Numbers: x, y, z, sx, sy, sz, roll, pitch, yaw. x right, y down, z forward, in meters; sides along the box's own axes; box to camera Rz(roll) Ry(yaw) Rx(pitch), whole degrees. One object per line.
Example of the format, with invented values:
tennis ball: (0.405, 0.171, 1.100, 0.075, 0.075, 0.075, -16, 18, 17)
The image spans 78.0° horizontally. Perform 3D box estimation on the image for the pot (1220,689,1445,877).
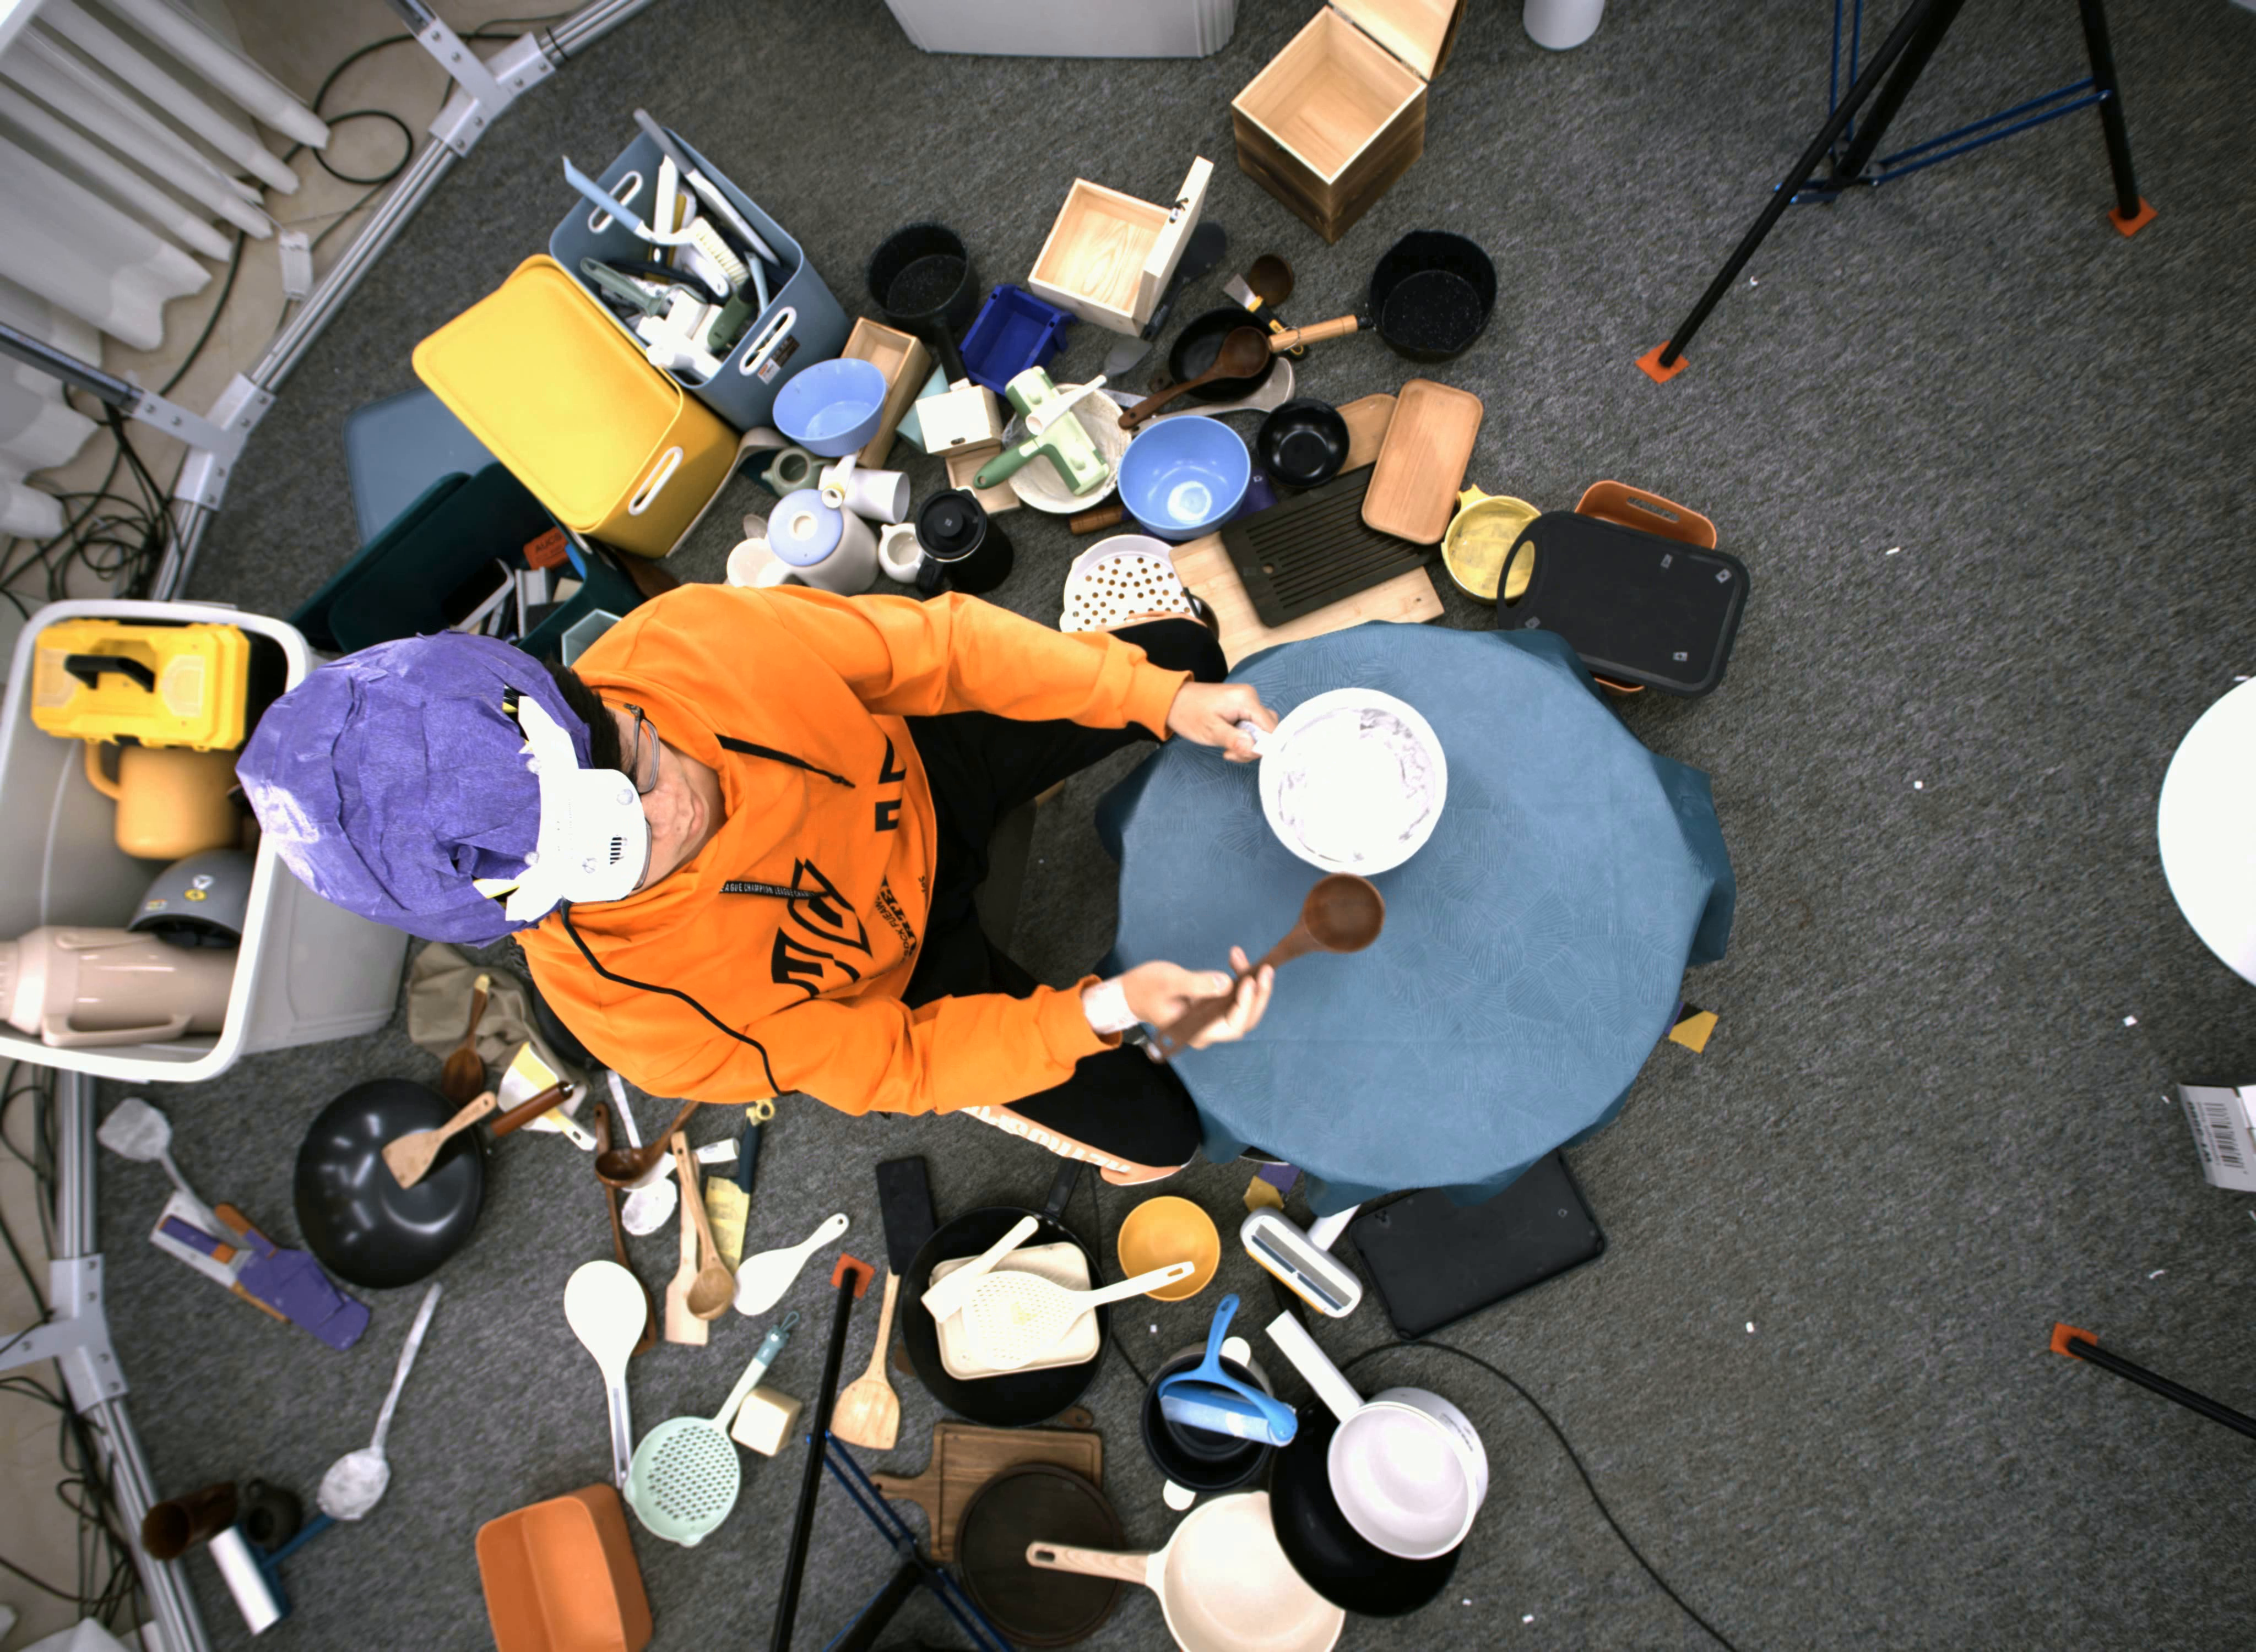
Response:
pot: (0.197, -0.050, 1.373, 0.233, 0.136, 0.179, 24, 93, 11)

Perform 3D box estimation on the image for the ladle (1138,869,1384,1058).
ladle: (0.119, 0.125, 1.240, 0.257, 0.066, 0.076, -32, 79, -18)
